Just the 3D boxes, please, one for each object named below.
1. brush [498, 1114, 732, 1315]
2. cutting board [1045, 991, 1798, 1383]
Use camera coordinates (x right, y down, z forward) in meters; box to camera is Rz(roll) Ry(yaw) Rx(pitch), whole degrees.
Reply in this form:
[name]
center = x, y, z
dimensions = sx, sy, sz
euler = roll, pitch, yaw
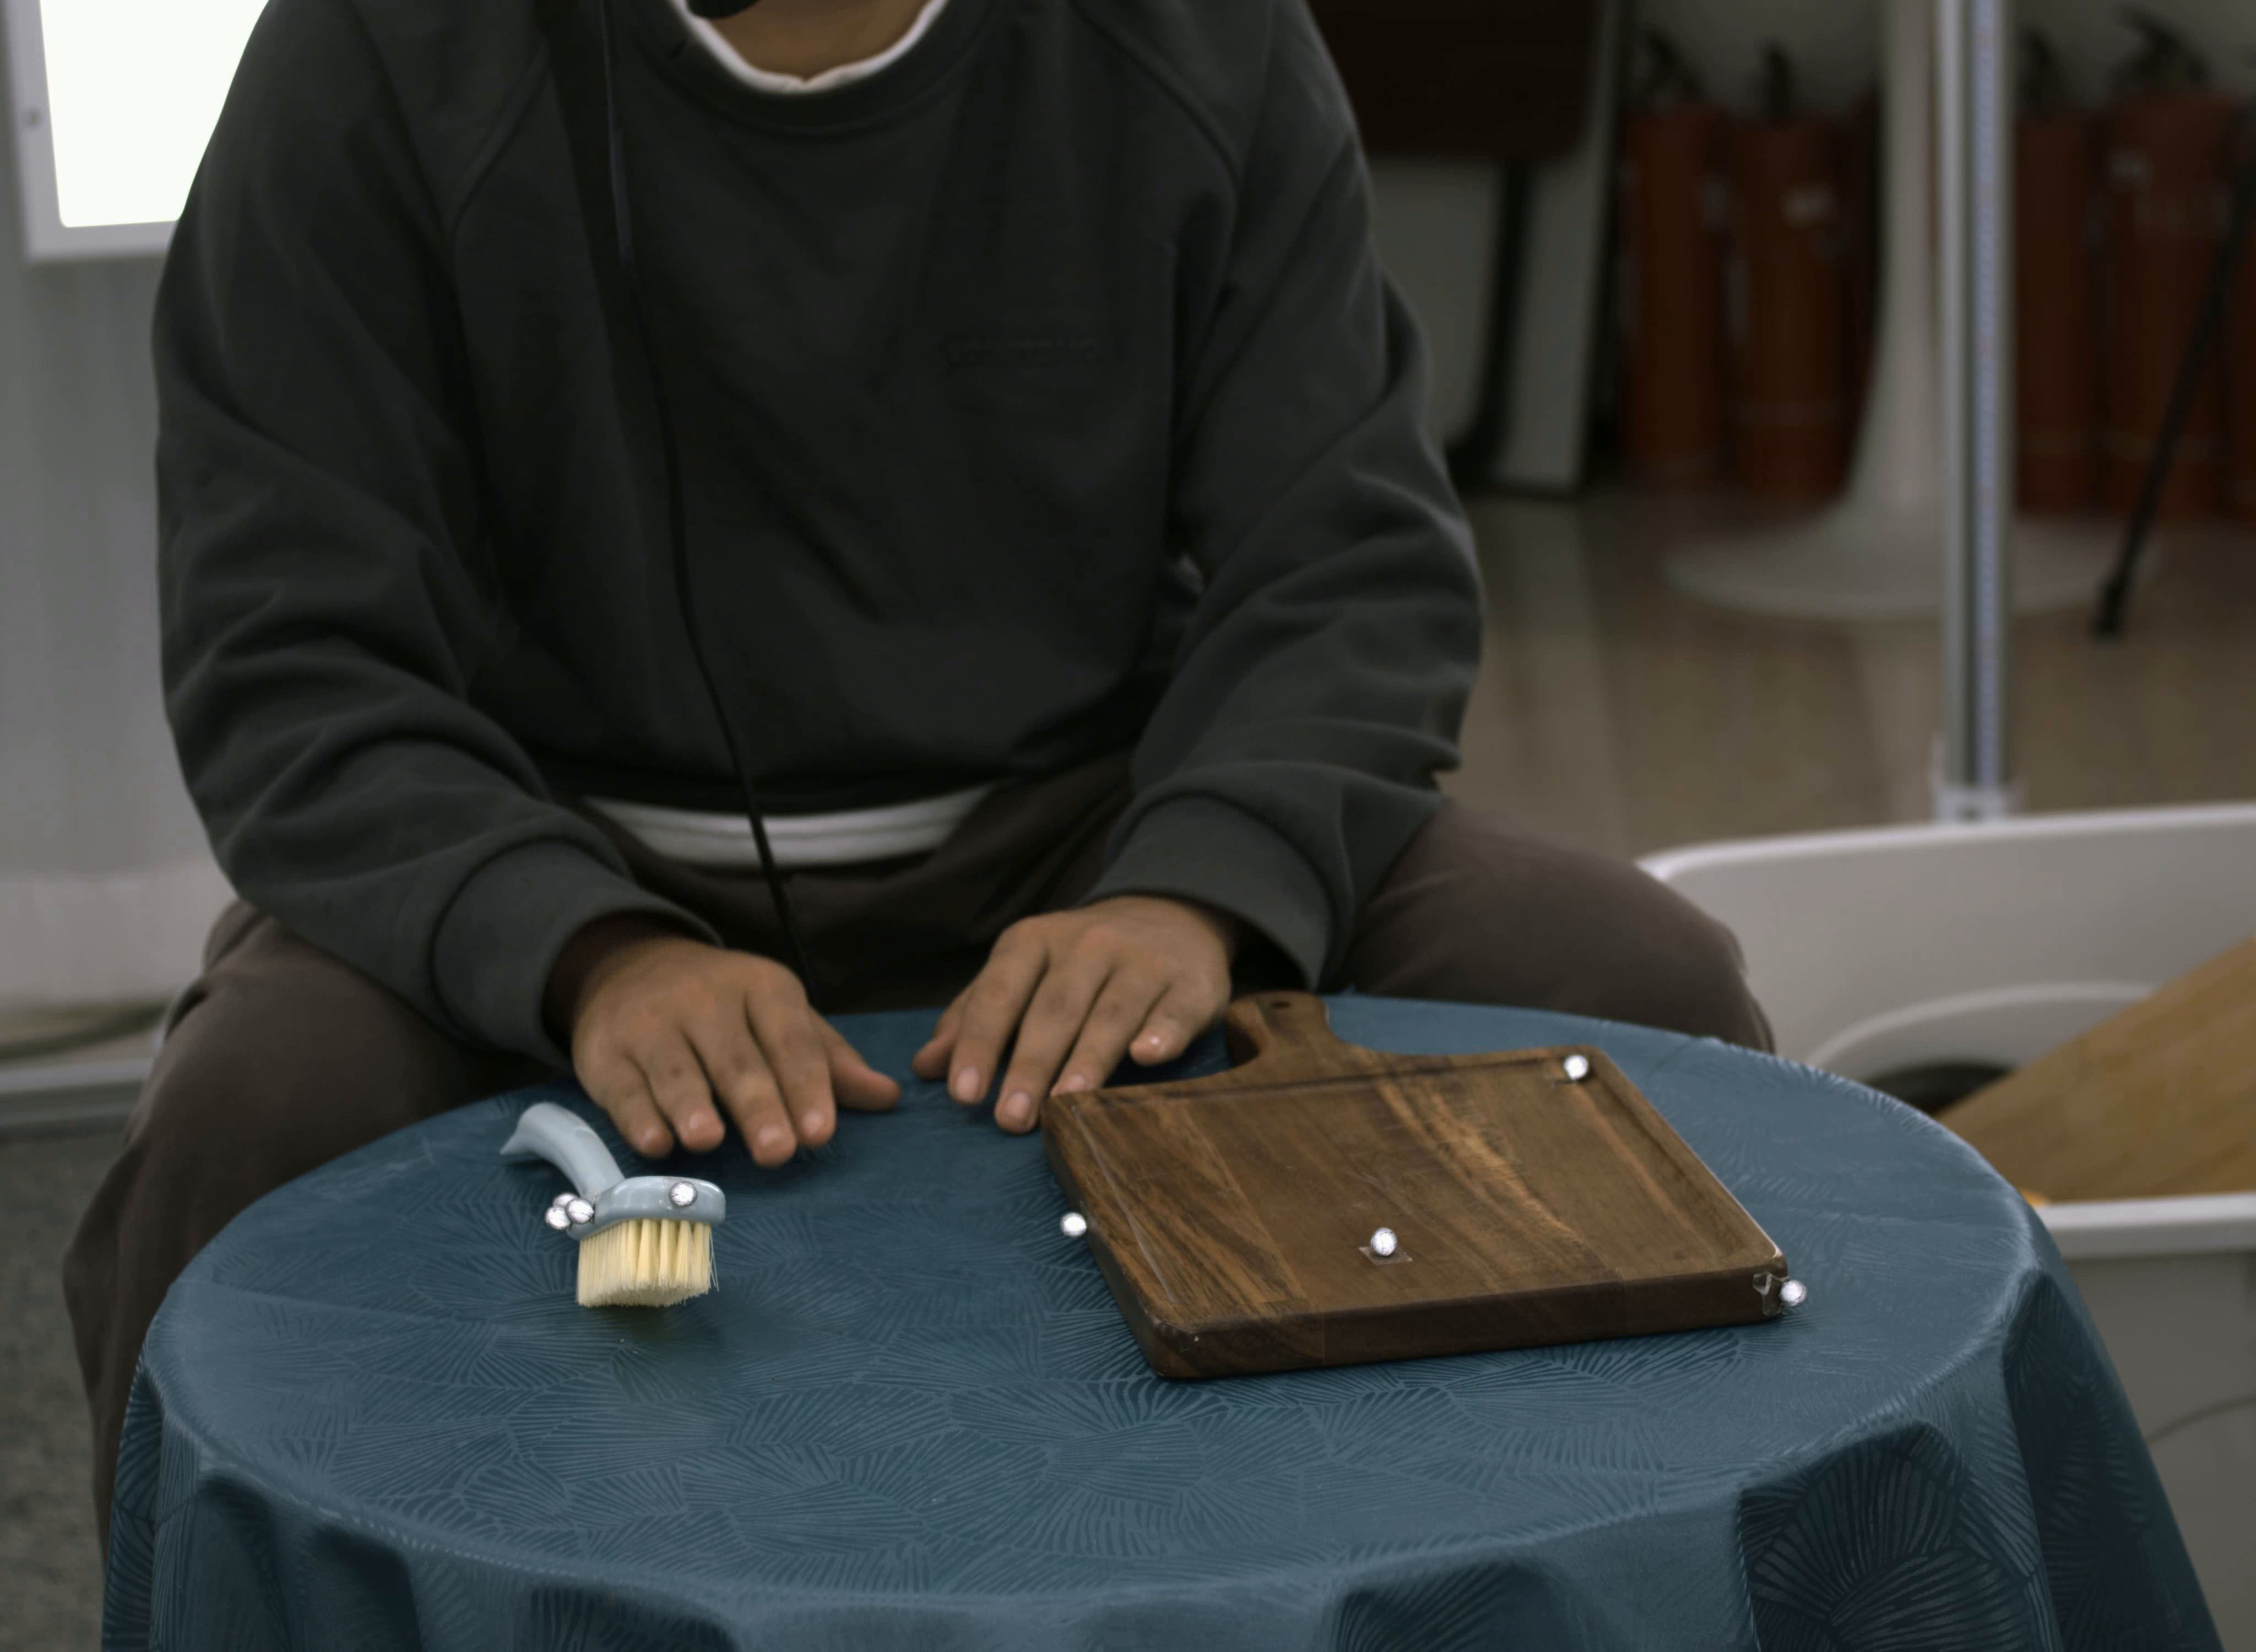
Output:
[brush]
center = -0.171, 0.126, 1.739
dimensions = 0.037, 0.050, 0.230
euler = 5, 2, -19
[cutting board]
center = 0.080, 0.108, 1.762
dimensions = 0.198, 0.023, 0.354
euler = -5, 14, -7
